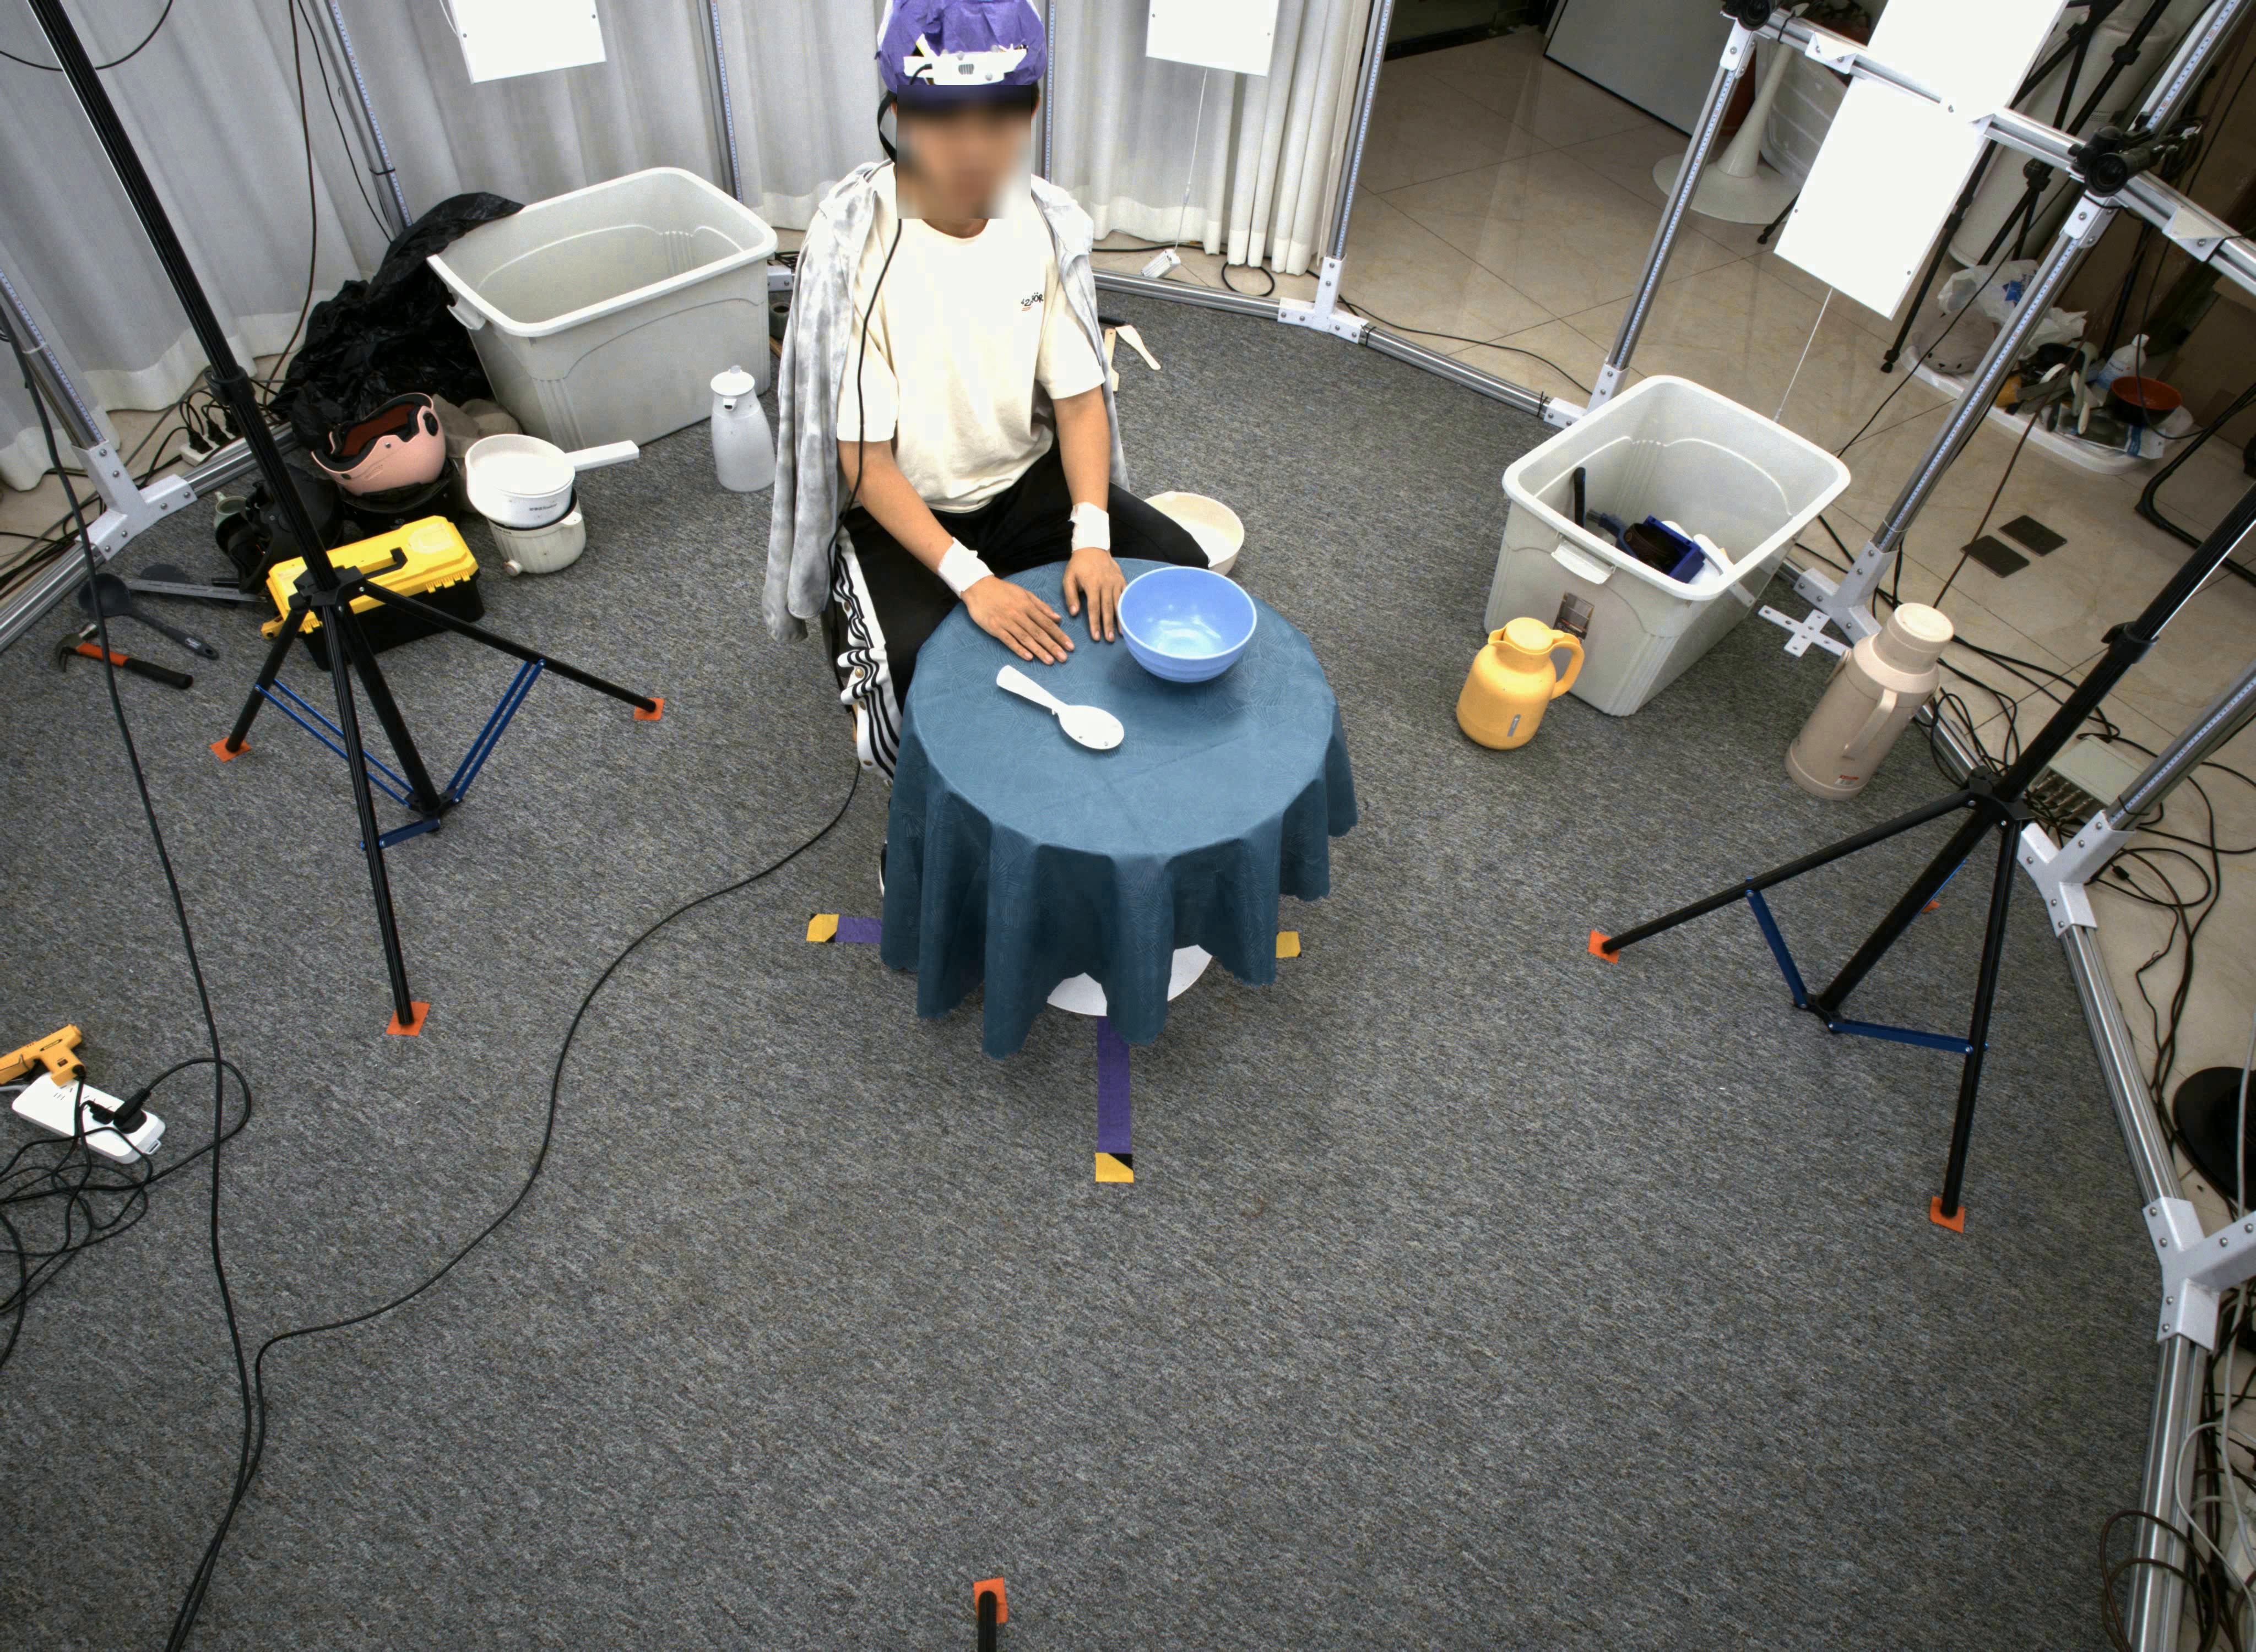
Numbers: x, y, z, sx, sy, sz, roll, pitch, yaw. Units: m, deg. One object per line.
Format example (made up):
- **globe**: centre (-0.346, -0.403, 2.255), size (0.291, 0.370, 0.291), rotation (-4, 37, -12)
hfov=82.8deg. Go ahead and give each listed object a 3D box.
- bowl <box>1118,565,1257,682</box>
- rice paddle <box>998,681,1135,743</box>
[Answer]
- **bowl**: centre (0.081, -0.275, 1.843), size (0.196, 0.093, 0.201), rotation (2, 51, -2)
- **rice paddle**: centre (-0.084, -0.157, 1.778), size (0.207, 0.029, 0.070), rotation (21, 38, 18)
